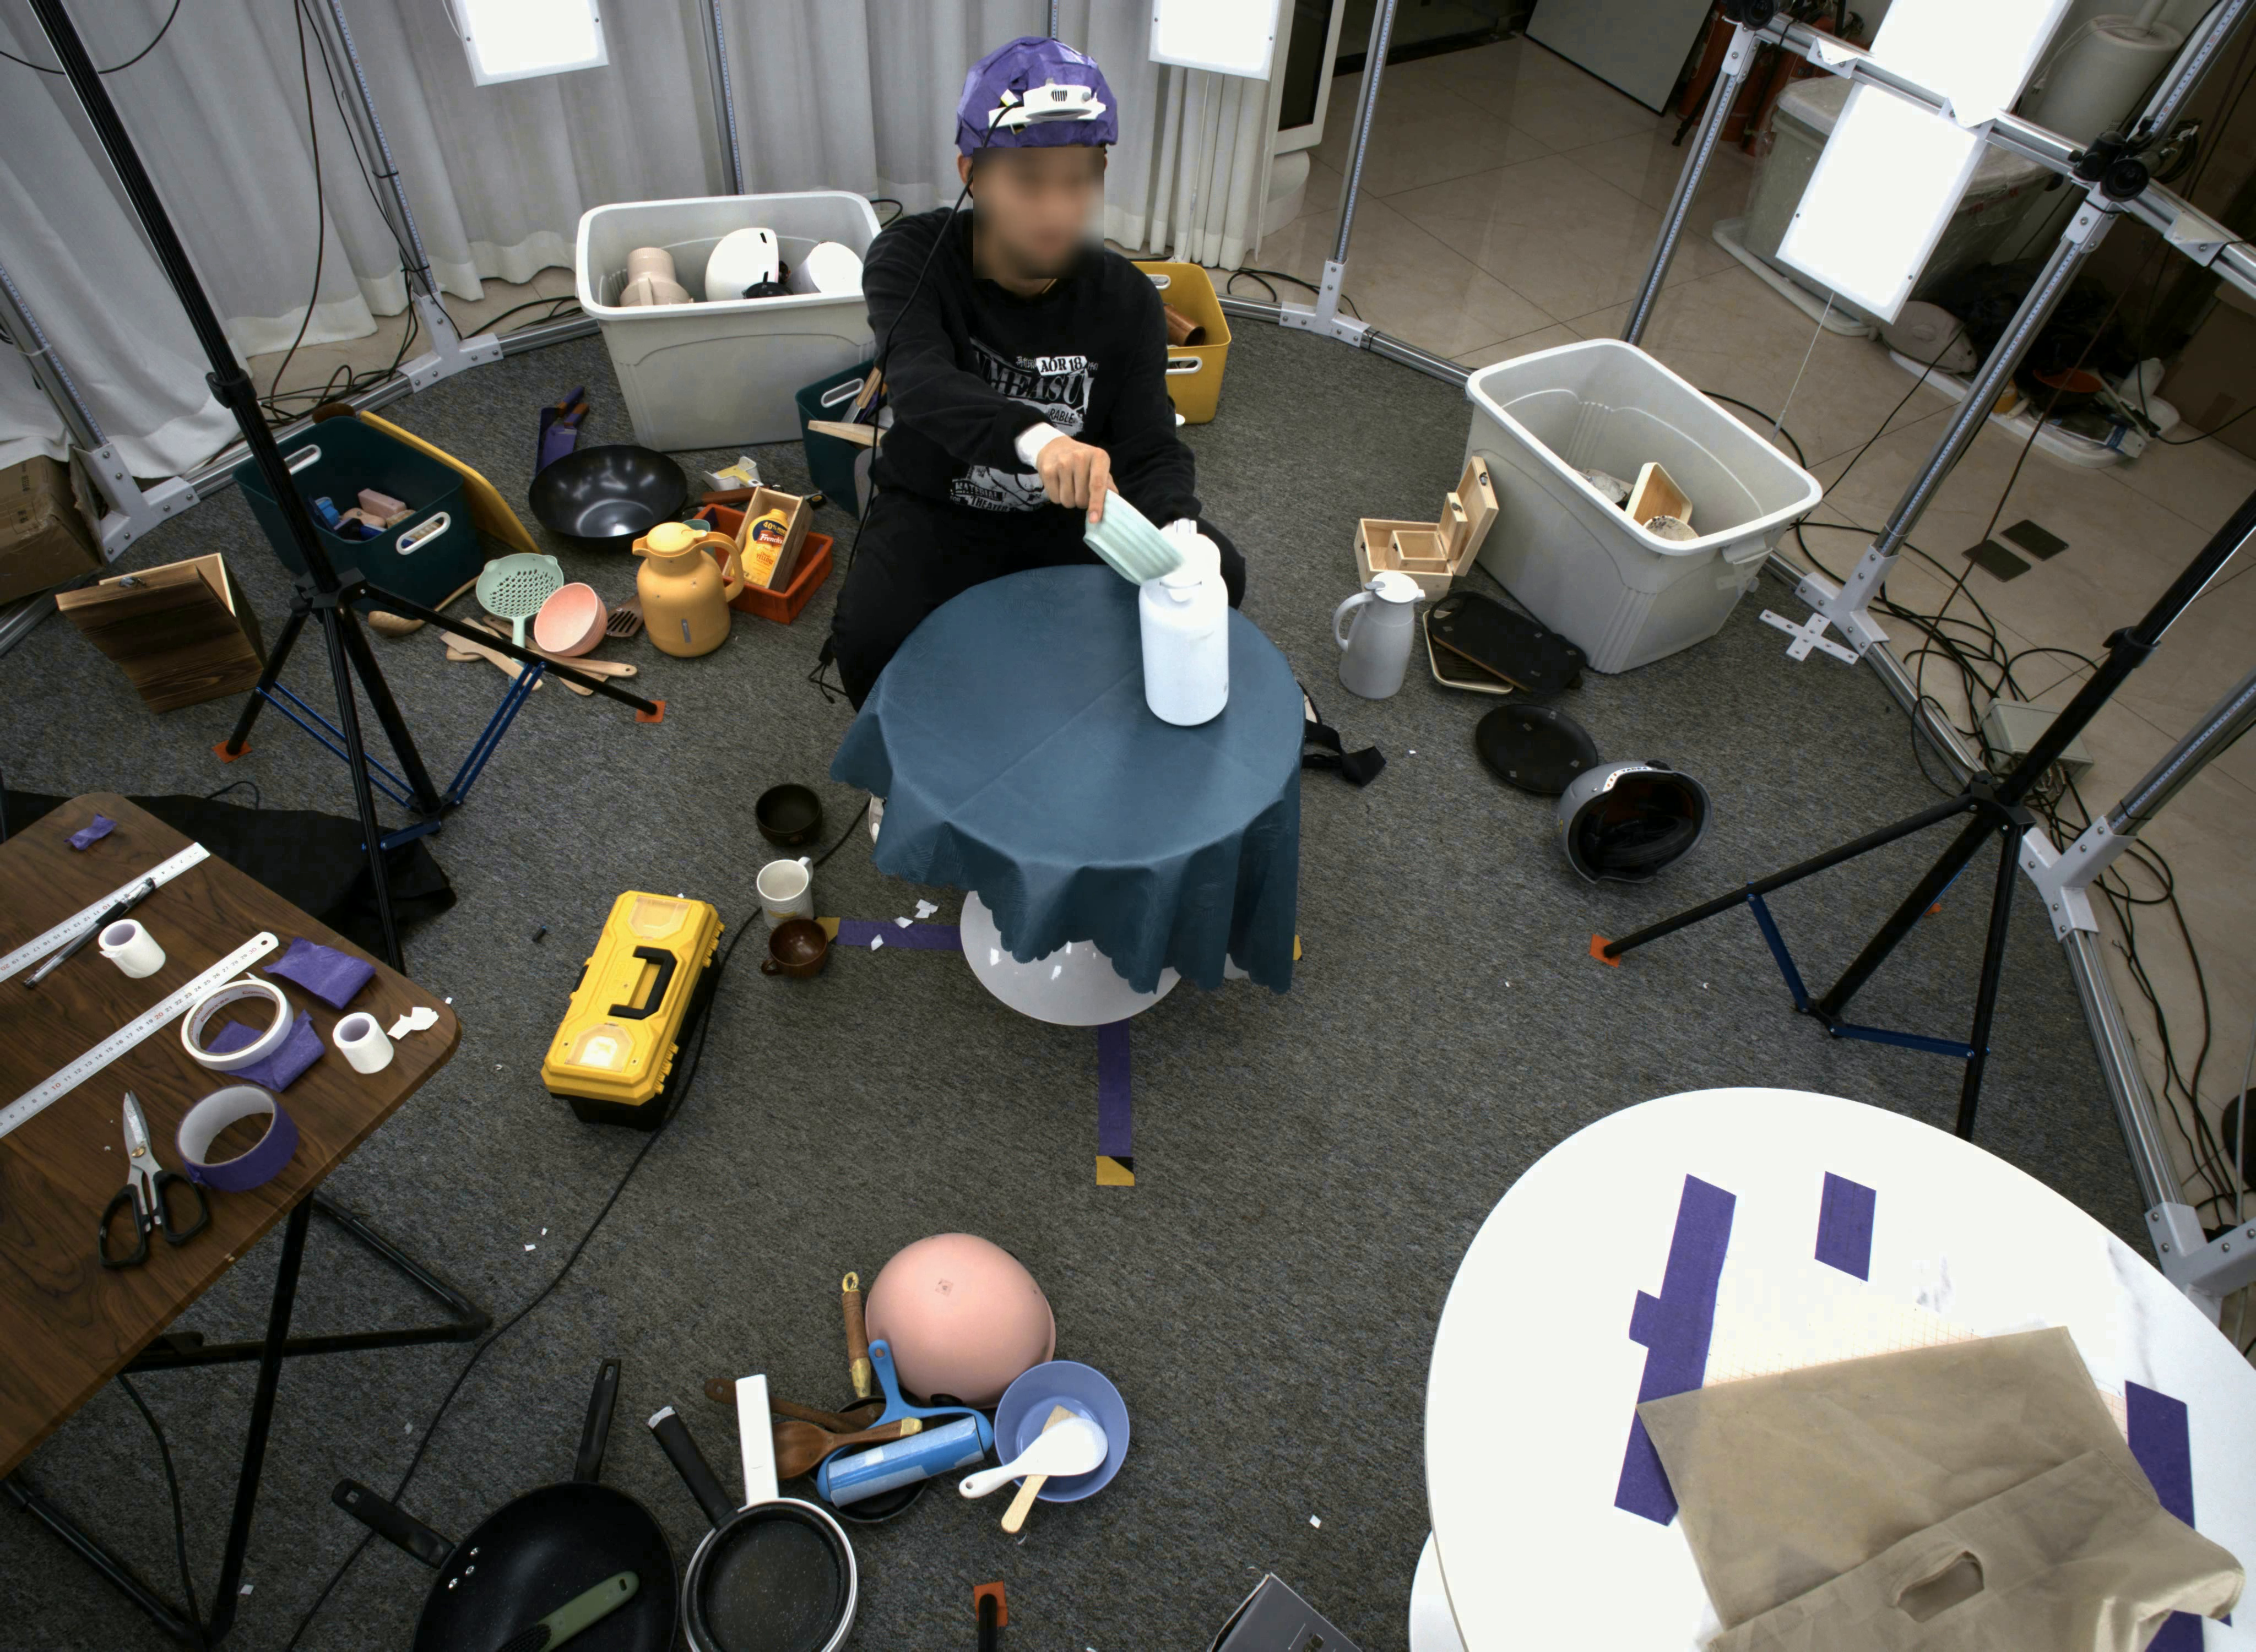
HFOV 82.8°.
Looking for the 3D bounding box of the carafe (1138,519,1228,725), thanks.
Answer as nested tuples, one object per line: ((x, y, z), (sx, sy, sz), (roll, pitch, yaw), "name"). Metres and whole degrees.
((0.074, -0.276, 1.734), (0.124, 0.262, 0.177), (-2, 53, 6), "carafe")

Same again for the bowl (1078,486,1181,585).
((-0.008, -0.338, 1.540), (0.154, 0.149, 0.058), (41, 93, 26), "bowl")
